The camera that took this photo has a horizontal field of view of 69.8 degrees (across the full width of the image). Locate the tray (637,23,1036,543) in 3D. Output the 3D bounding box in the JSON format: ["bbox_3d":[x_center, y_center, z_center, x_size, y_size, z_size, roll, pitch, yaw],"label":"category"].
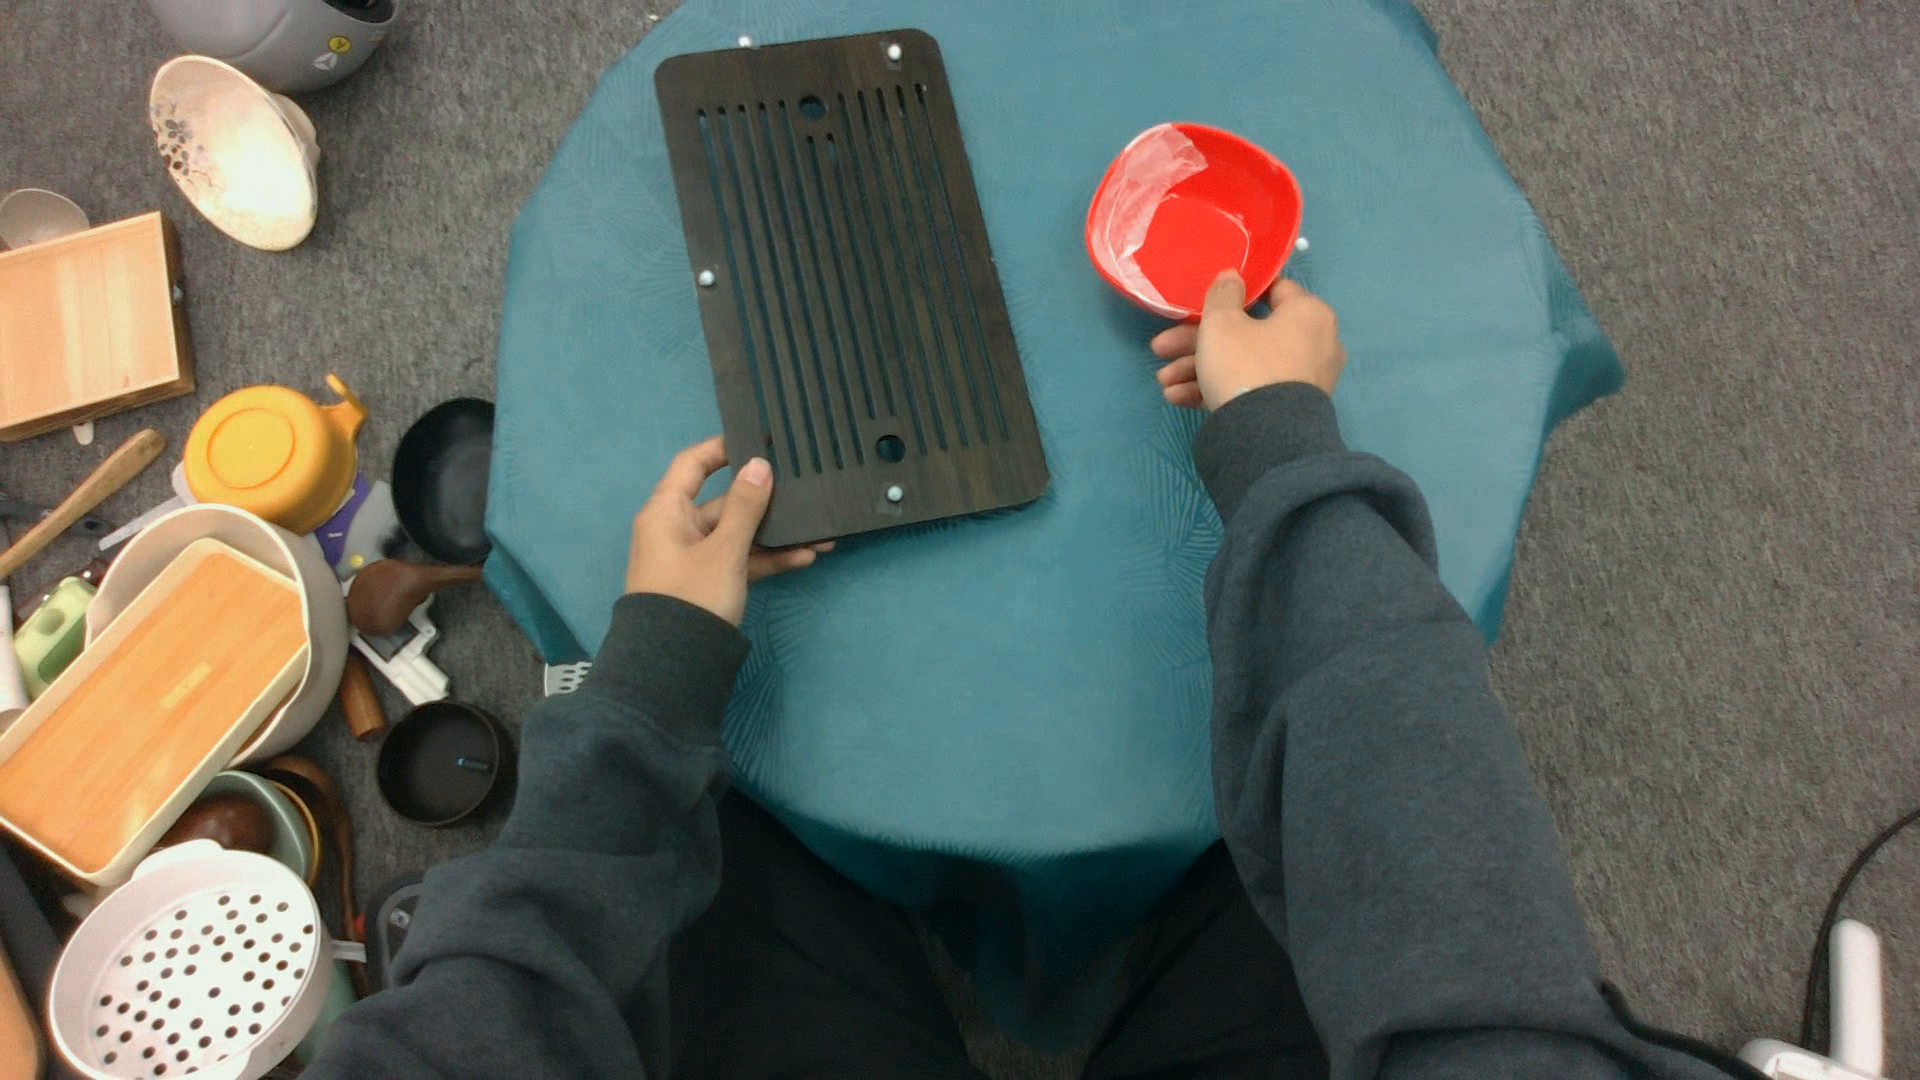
[{"bbox_3d":[-0.073,-0.153,0.777,0.170,0.018,0.306,-11,74,-10],"label":"tray"}]

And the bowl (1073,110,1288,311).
[{"bbox_3d":[0.120,-0.175,0.768,0.119,0.051,0.119,-1,74,2],"label":"bowl"}]
